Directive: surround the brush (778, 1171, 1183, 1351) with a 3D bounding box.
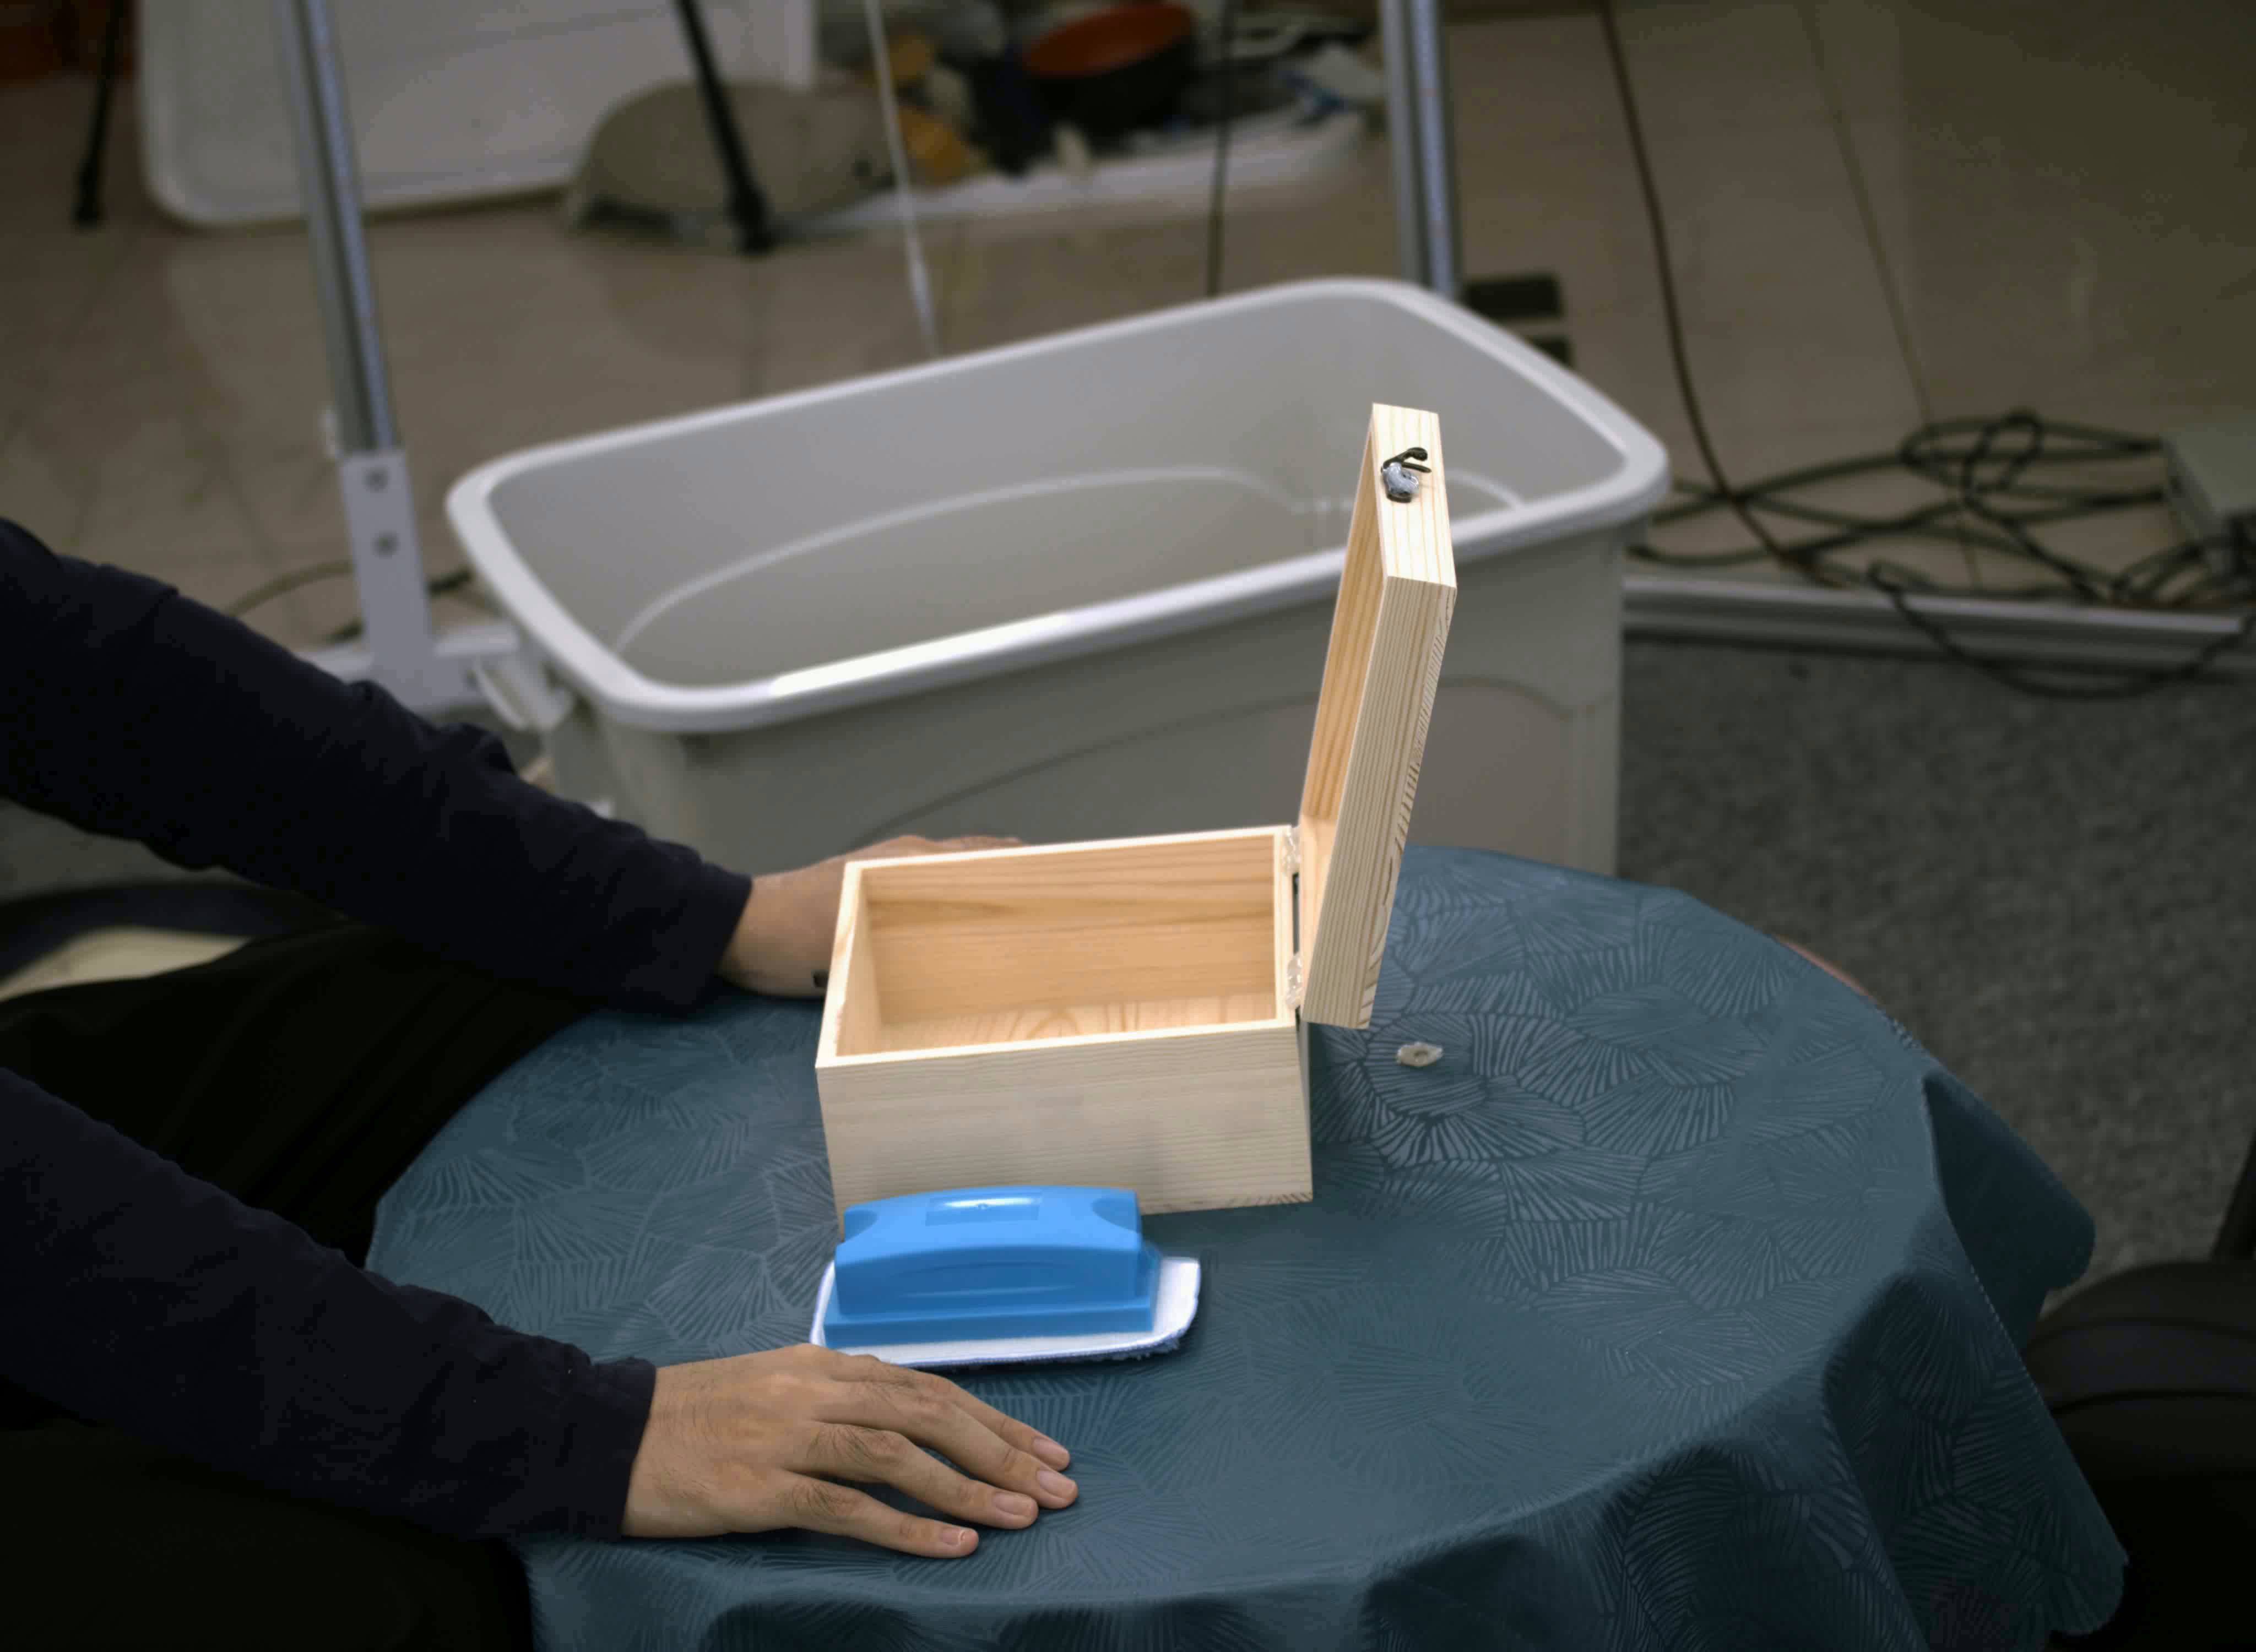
[{"bbox_3d":[-0.054,0.155,2.053,0.144,0.057,0.083,-1,22,7],"label":"brush"}]

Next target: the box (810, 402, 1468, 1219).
[{"bbox_3d":[0.003,-0.005,2.154,0.265,0.257,0.179,-5,25,3],"label":"box"}]
